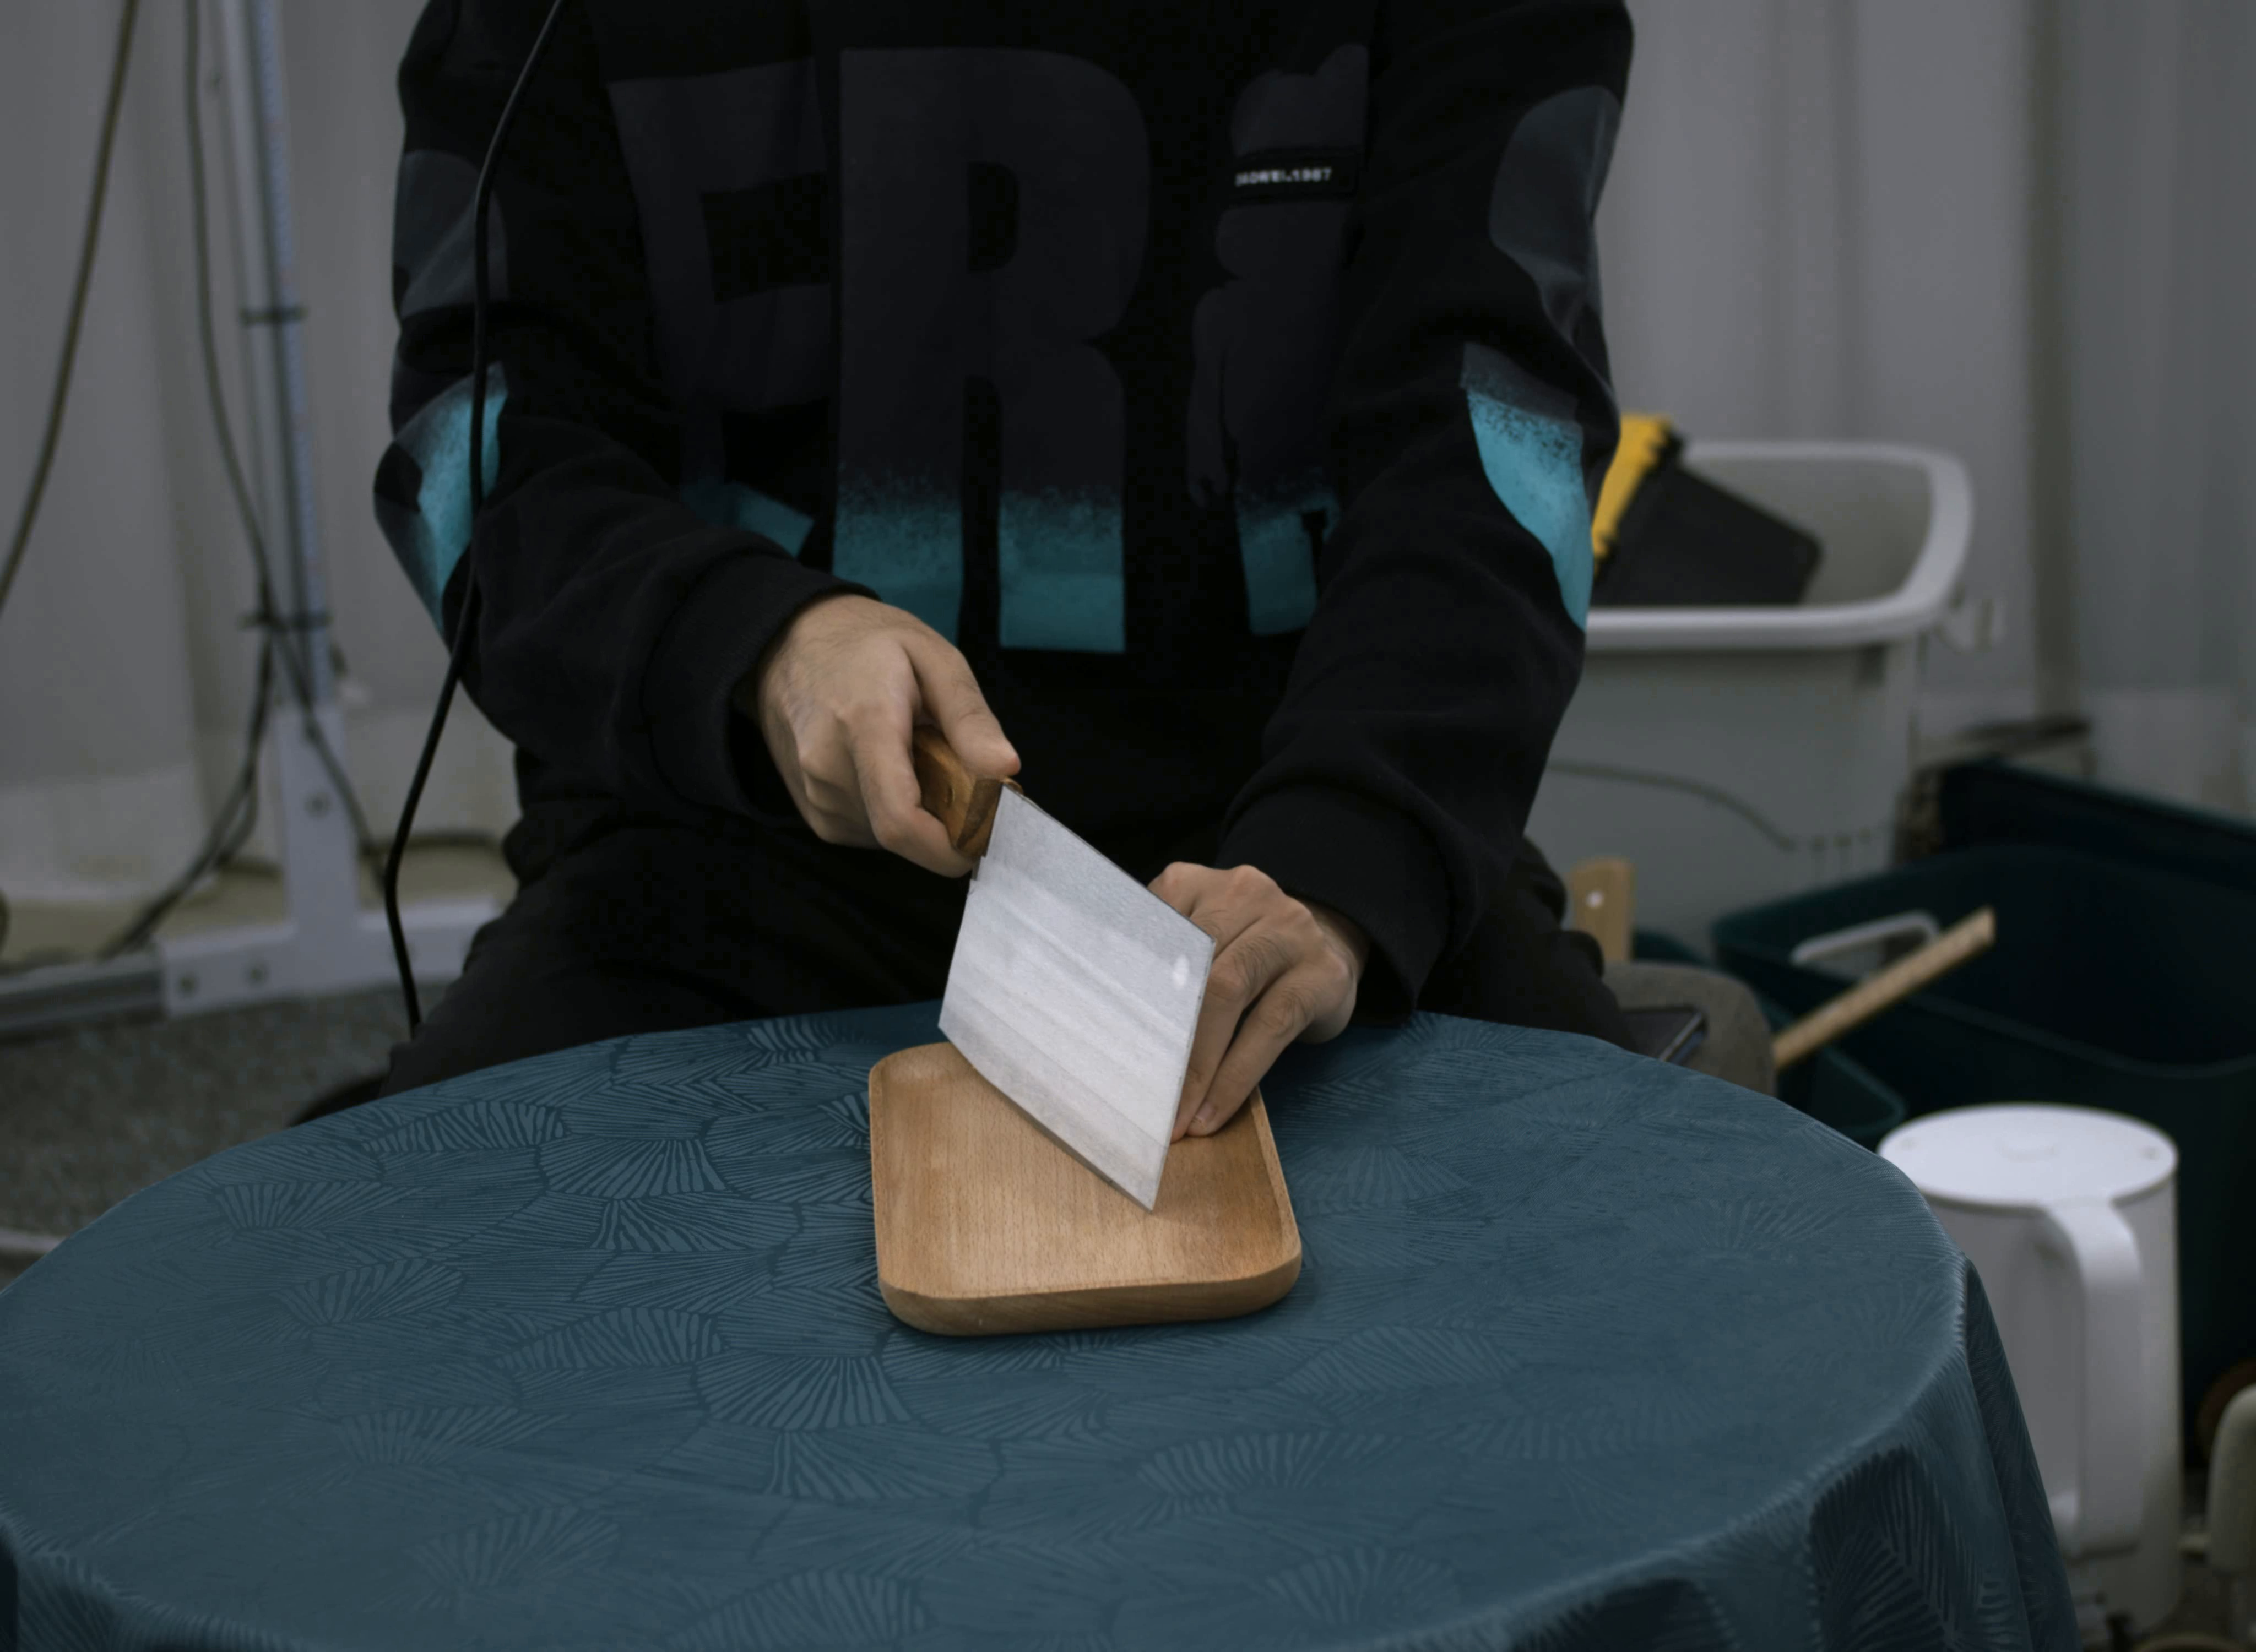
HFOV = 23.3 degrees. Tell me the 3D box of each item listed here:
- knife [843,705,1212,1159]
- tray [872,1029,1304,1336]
[{"bbox_3d":[-0.039,0.034,1.794,0.021,0.093,0.308,8,12,-24],"label":"knife"},{"bbox_3d":[-0.015,0.109,1.710,0.130,0.023,0.252,-1,14,-1],"label":"tray"}]
